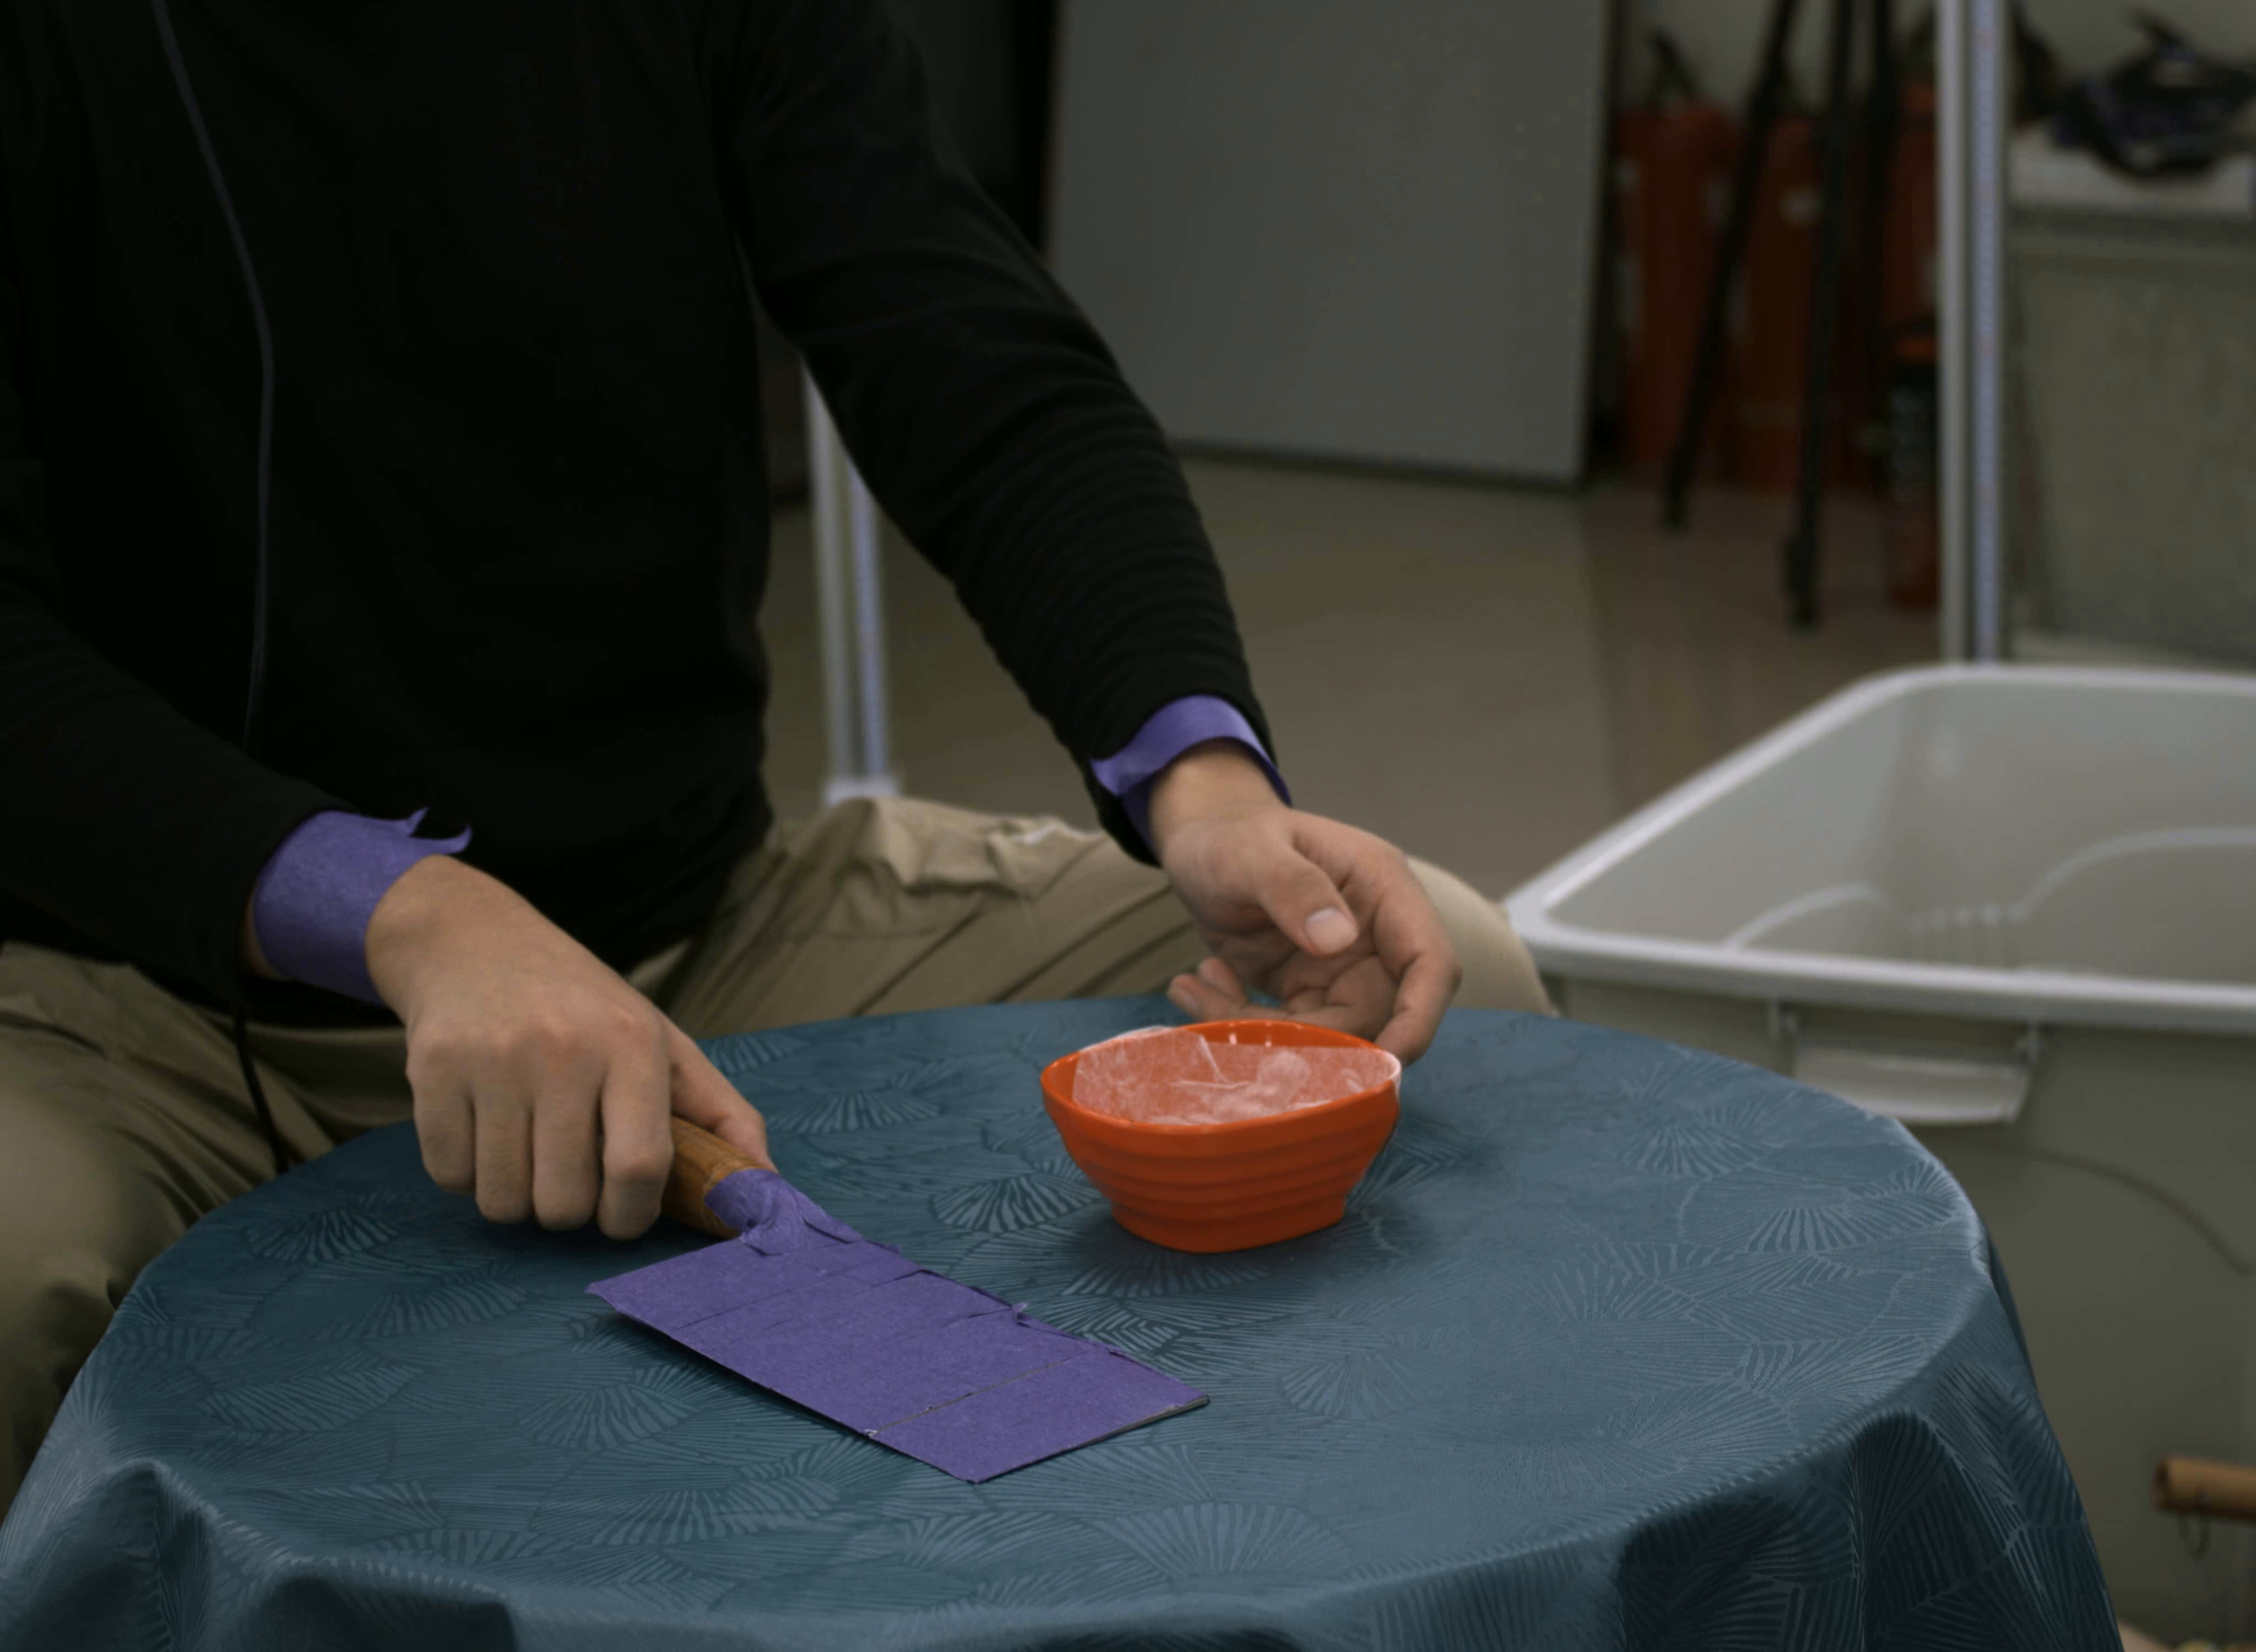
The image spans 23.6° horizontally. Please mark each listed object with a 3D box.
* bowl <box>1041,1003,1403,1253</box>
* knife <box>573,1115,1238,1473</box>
[{"bbox_3d":[0.031,0.099,1.735,0.117,0.052,0.119,-4,17,0],"label":"bowl"},{"bbox_3d":[-0.101,0.142,1.668,0.101,0.032,0.318,-14,17,-35],"label":"knife"}]
